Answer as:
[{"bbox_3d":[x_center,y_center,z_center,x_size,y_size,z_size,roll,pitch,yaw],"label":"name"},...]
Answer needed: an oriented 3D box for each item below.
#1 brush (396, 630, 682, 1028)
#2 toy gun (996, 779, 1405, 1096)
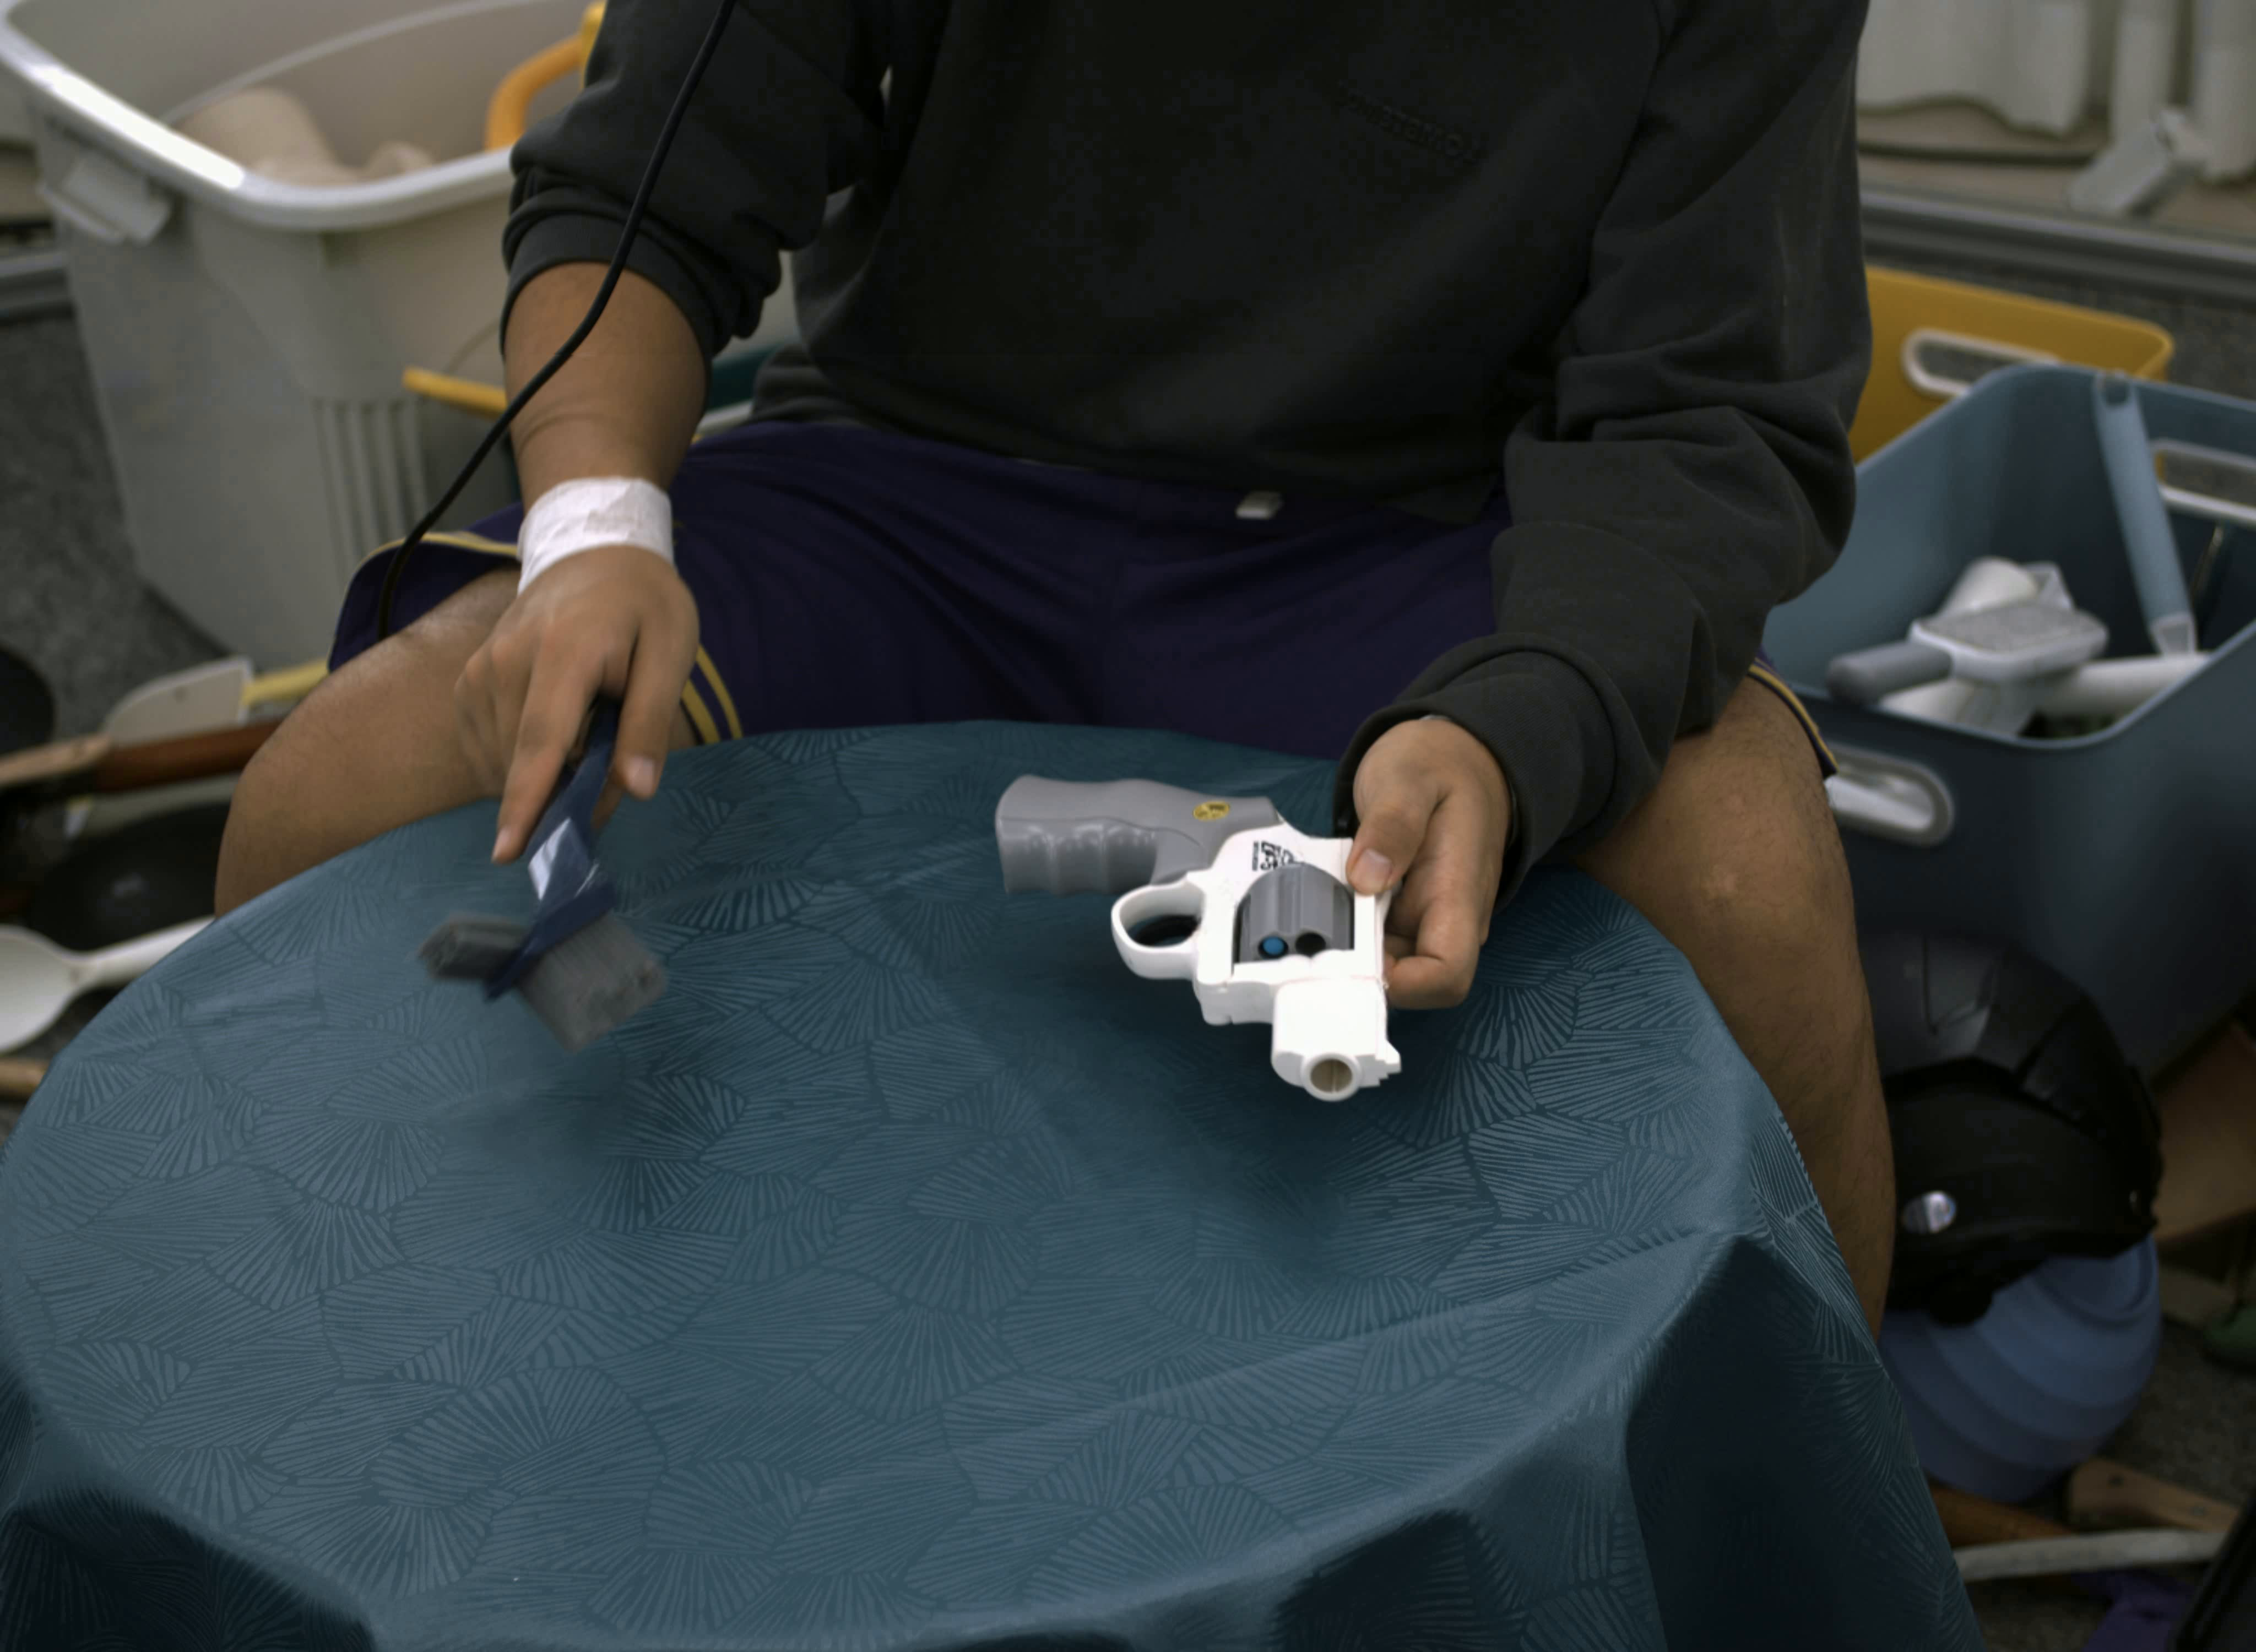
[{"bbox_3d":[-0.199,-0.010,1.978,0.095,0.033,0.277,32,23,-17],"label":"brush"},{"bbox_3d":[0.023,0.034,1.901,0.141,0.038,0.212,-7,28,6],"label":"toy gun"}]
